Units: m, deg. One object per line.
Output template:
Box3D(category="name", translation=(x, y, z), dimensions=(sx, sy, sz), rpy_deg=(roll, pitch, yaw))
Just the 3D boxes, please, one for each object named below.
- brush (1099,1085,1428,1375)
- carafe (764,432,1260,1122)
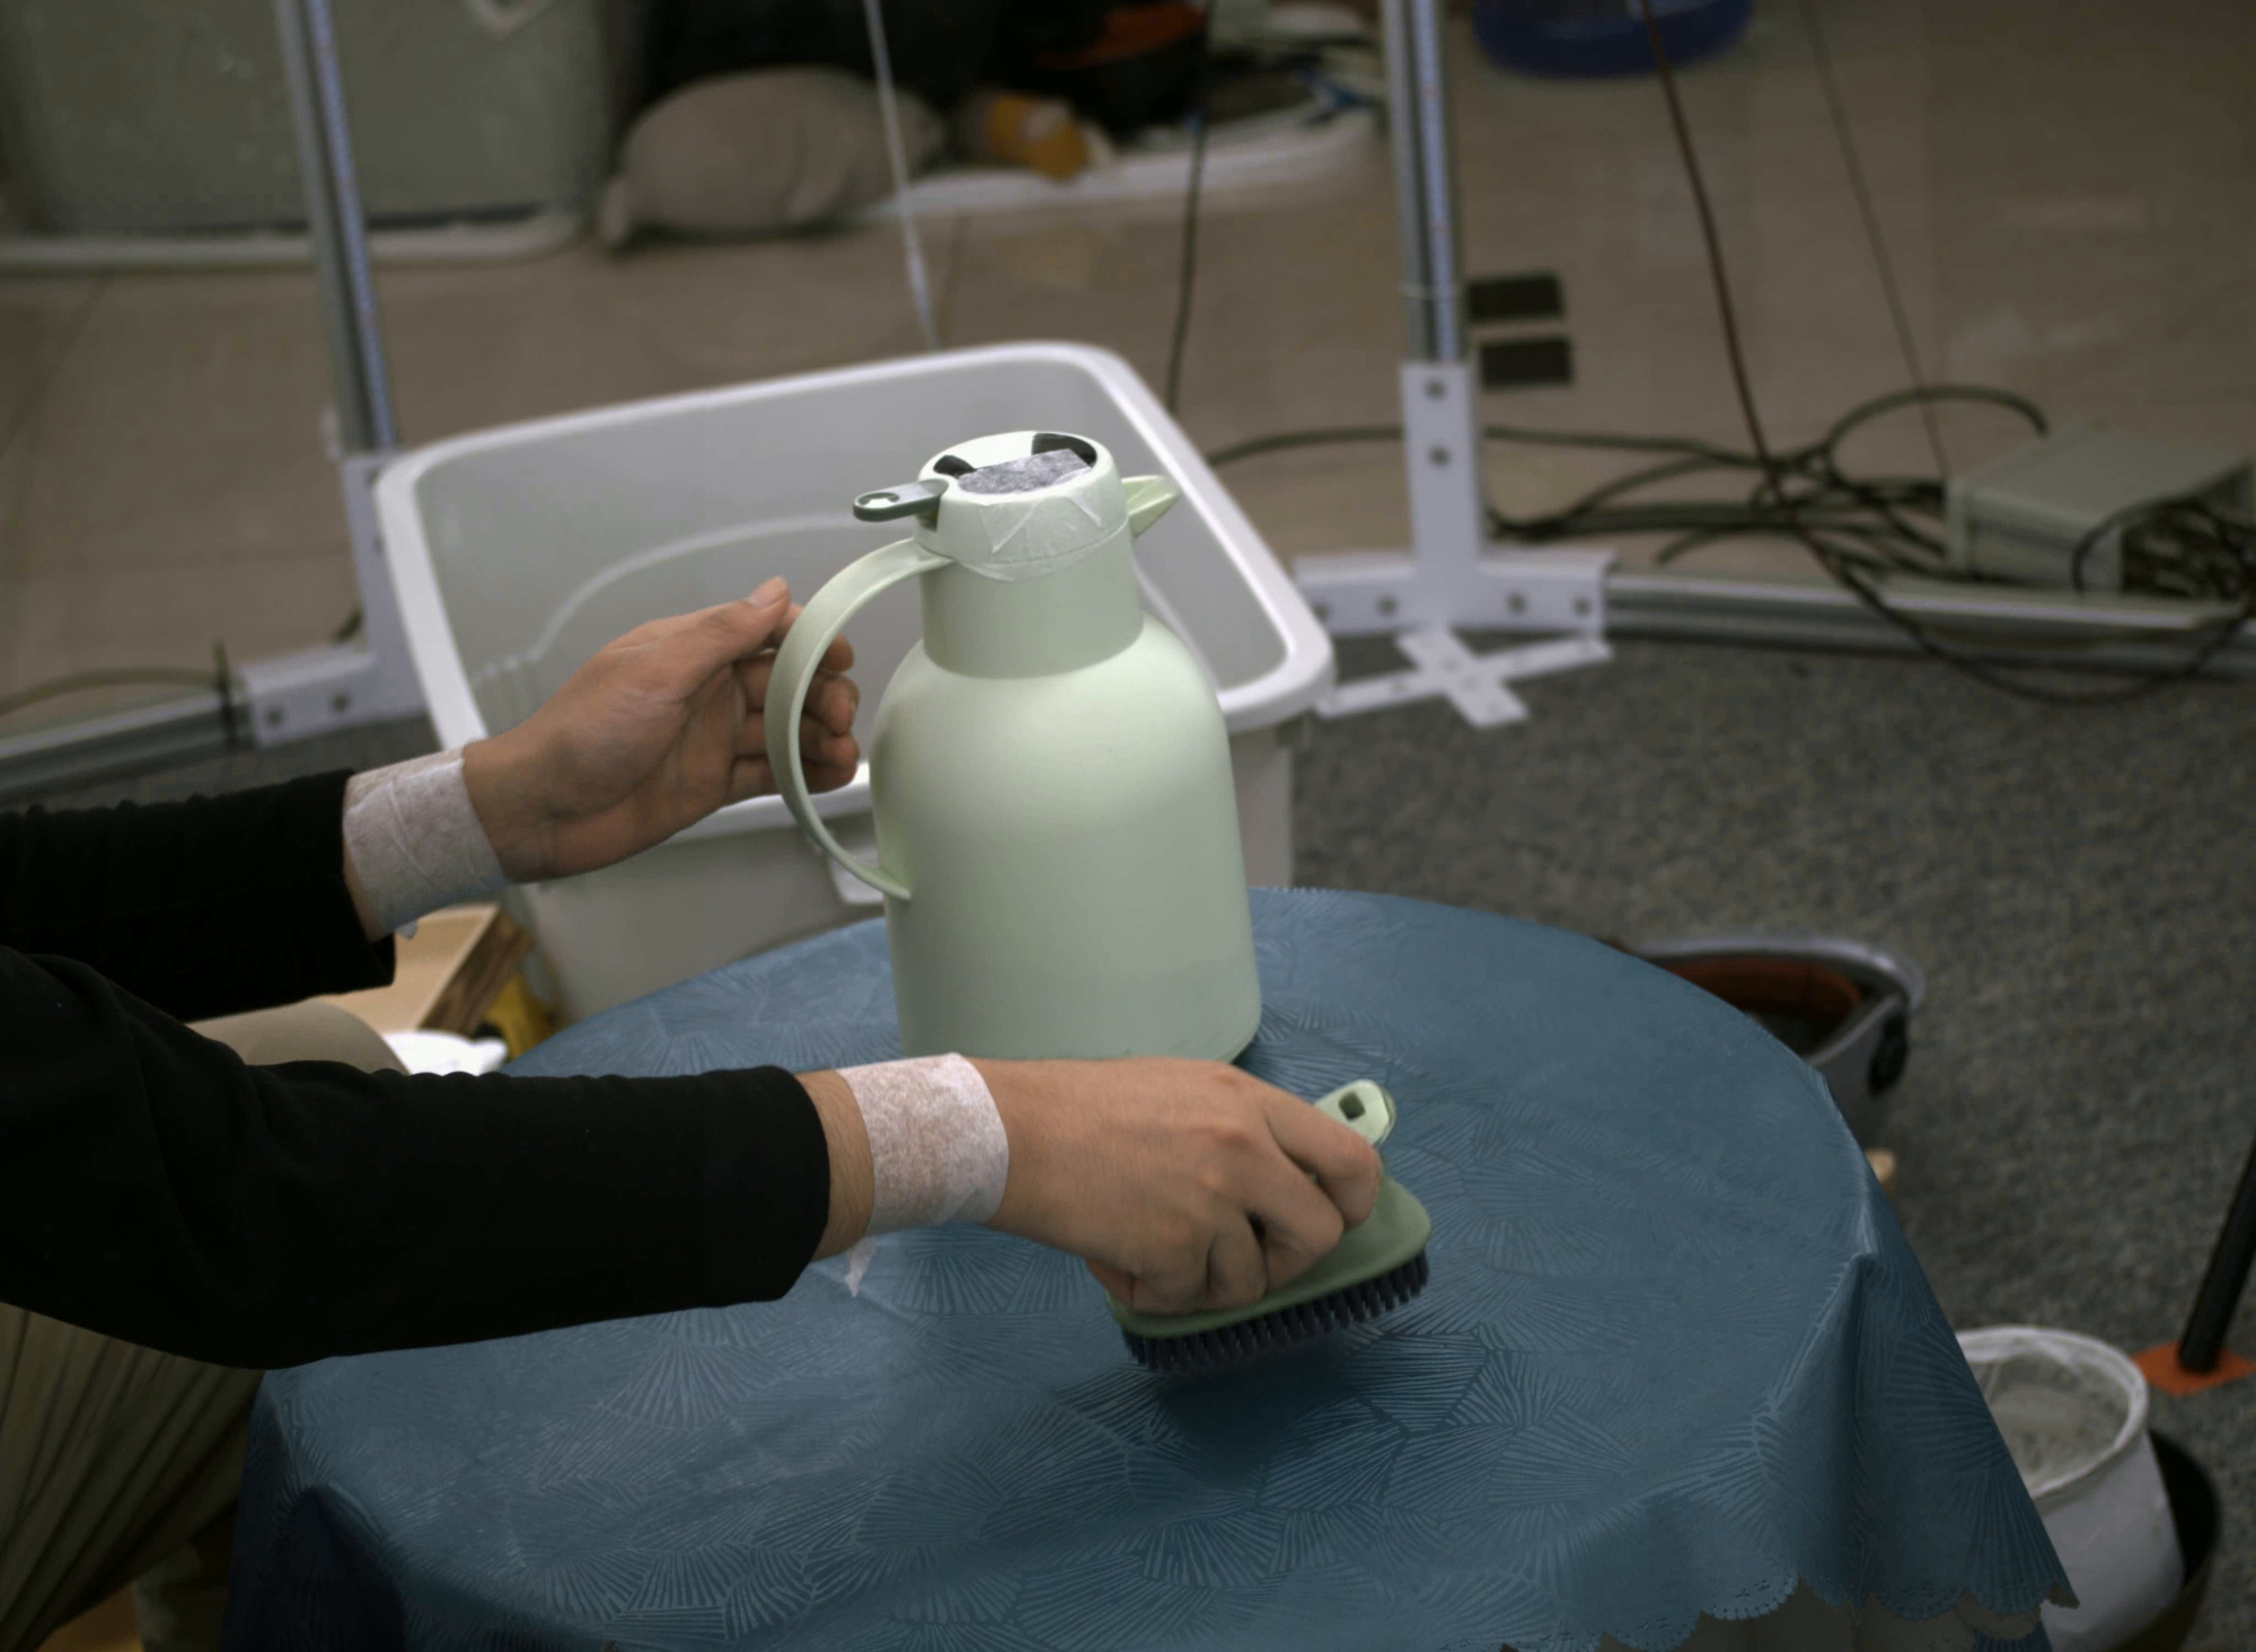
Box3D(category="brush", translation=(0.049, 0.149, 2.013), dimensions=(0.123, 0.077, 0.058), rpy_deg=(-29, 31, 3))
Box3D(category="carafe", translation=(-0.044, -0.020, 2.190), dimensions=(0.186, 0.261, 0.142), rpy_deg=(-19, 28, -19))
